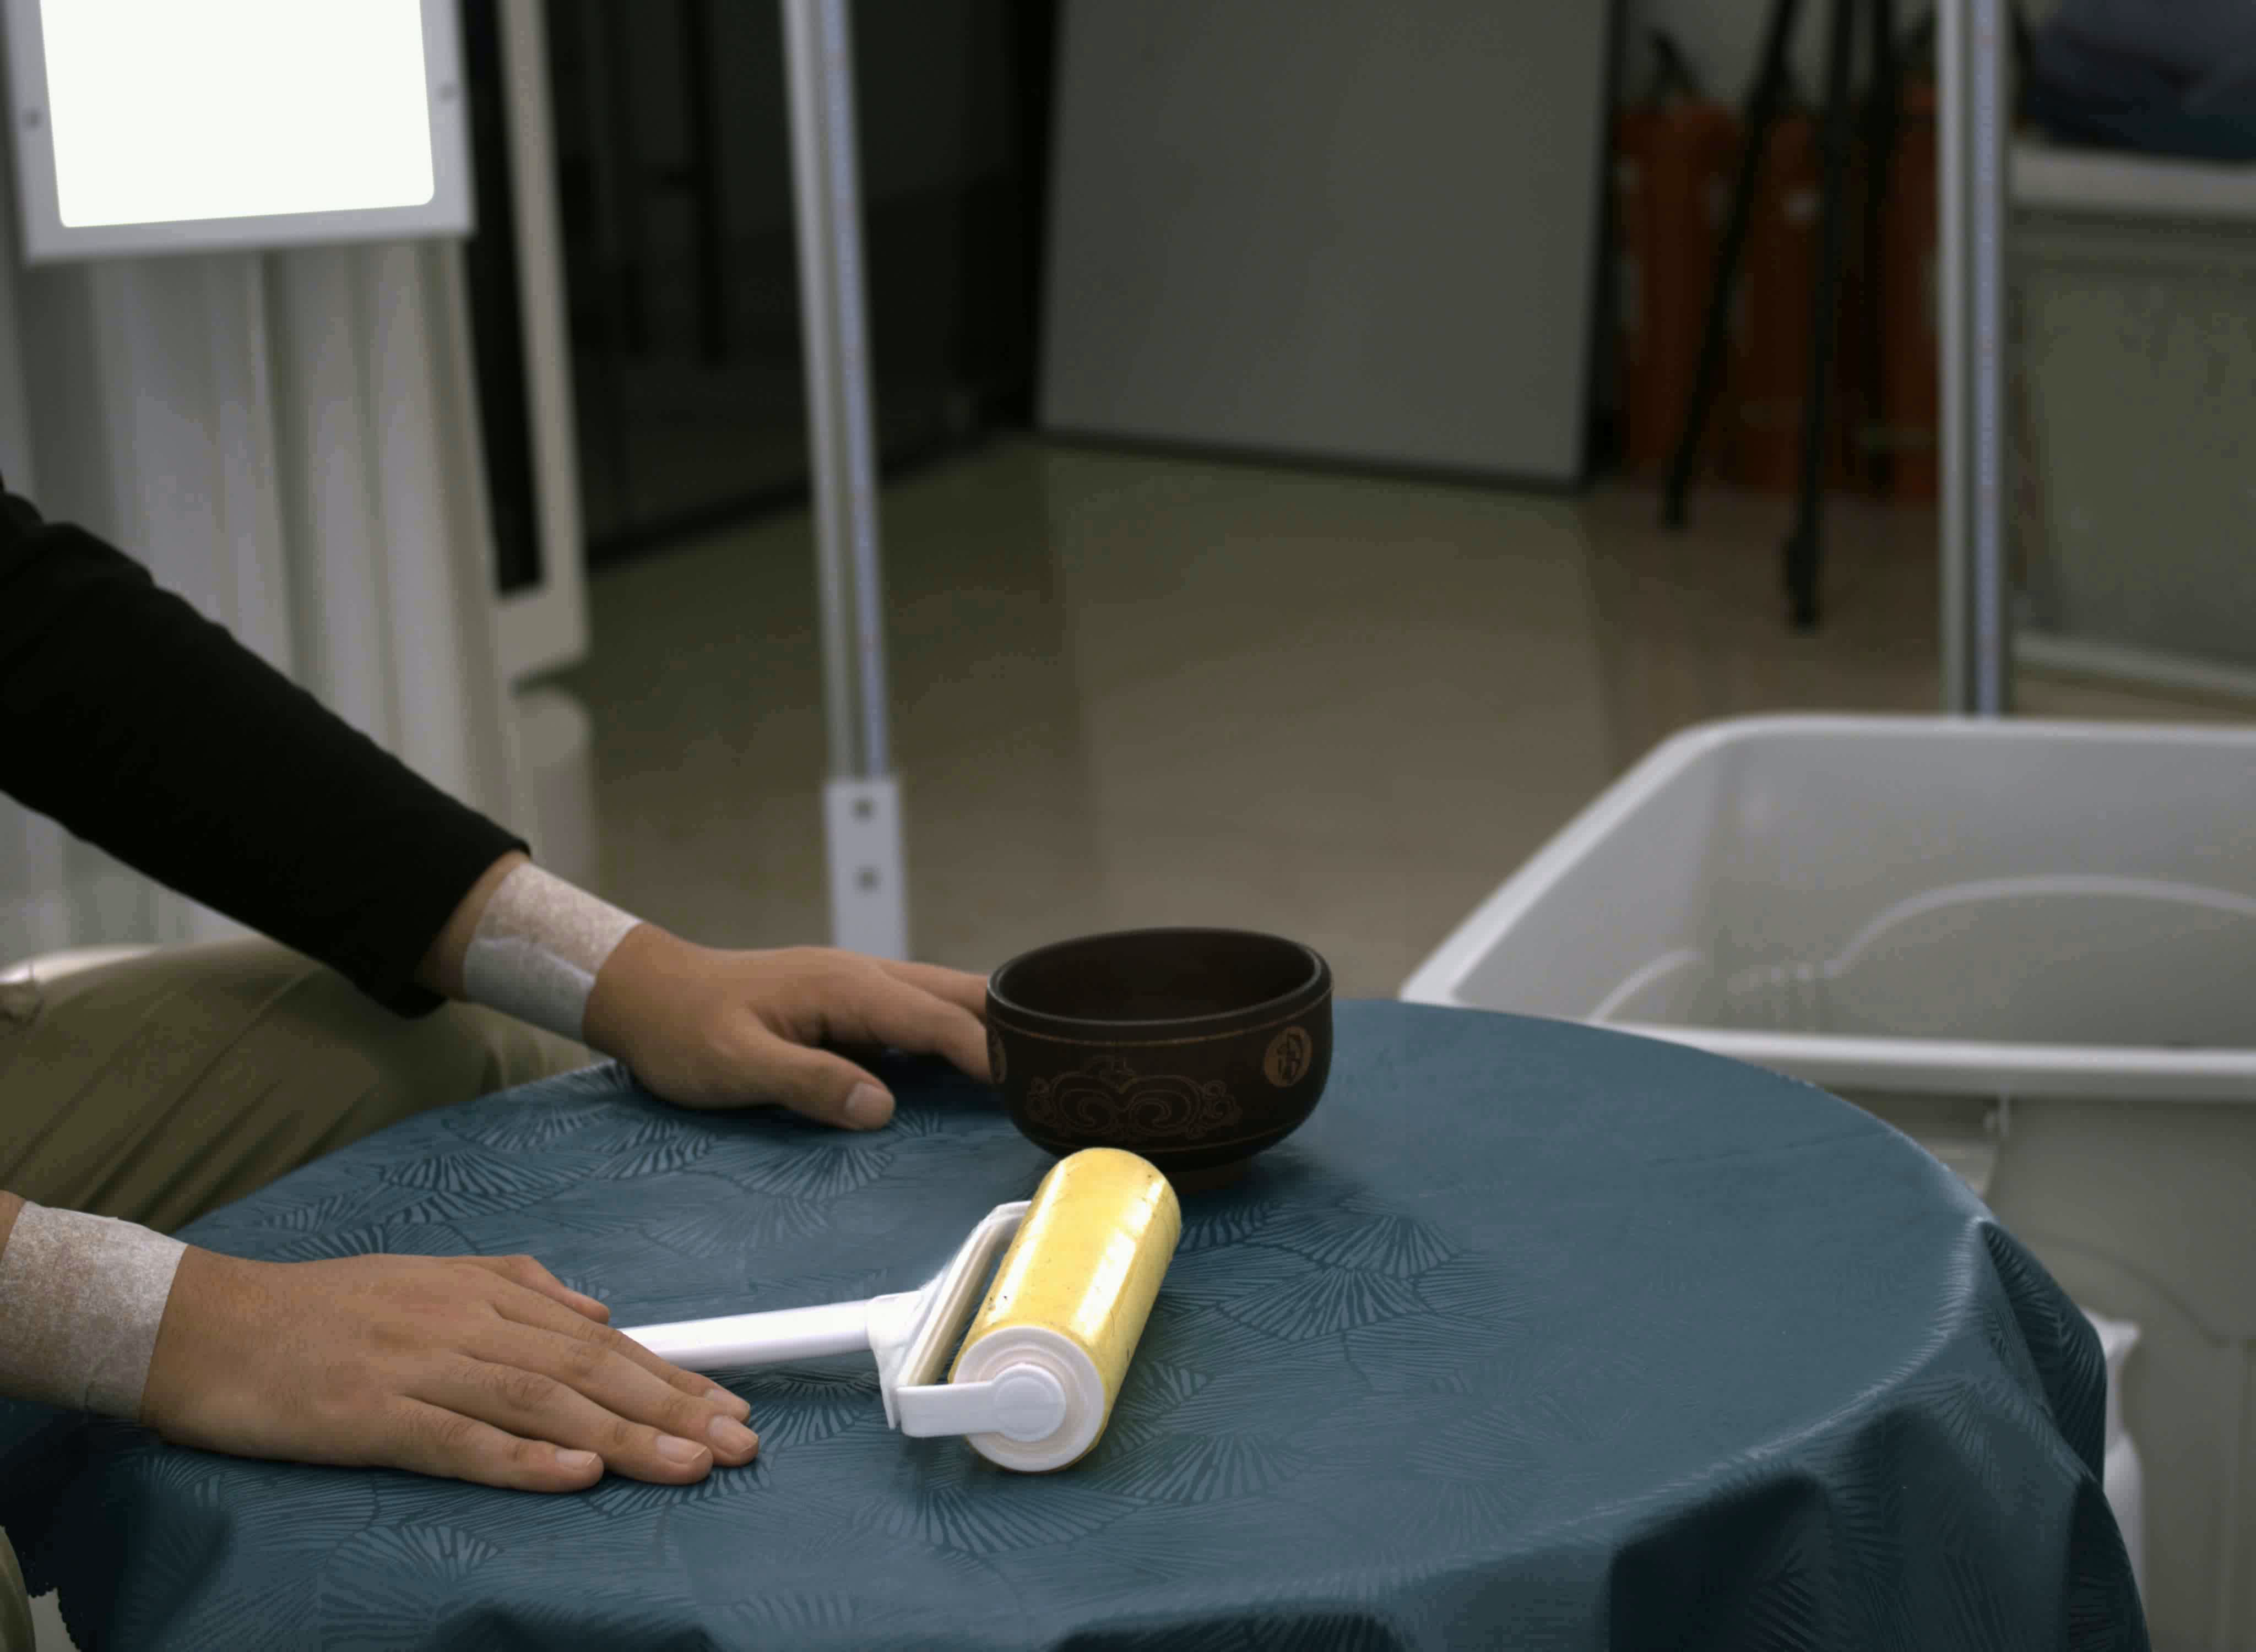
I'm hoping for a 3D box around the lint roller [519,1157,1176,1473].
[{"bbox_3d":[-0.087,0.142,1.603,0.190,0.052,0.174,2,14,7],"label":"lint roller"}]

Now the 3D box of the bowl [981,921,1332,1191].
[{"bbox_3d":[0.010,0.079,1.780,0.116,0.070,0.118,-3,13,0],"label":"bowl"}]
